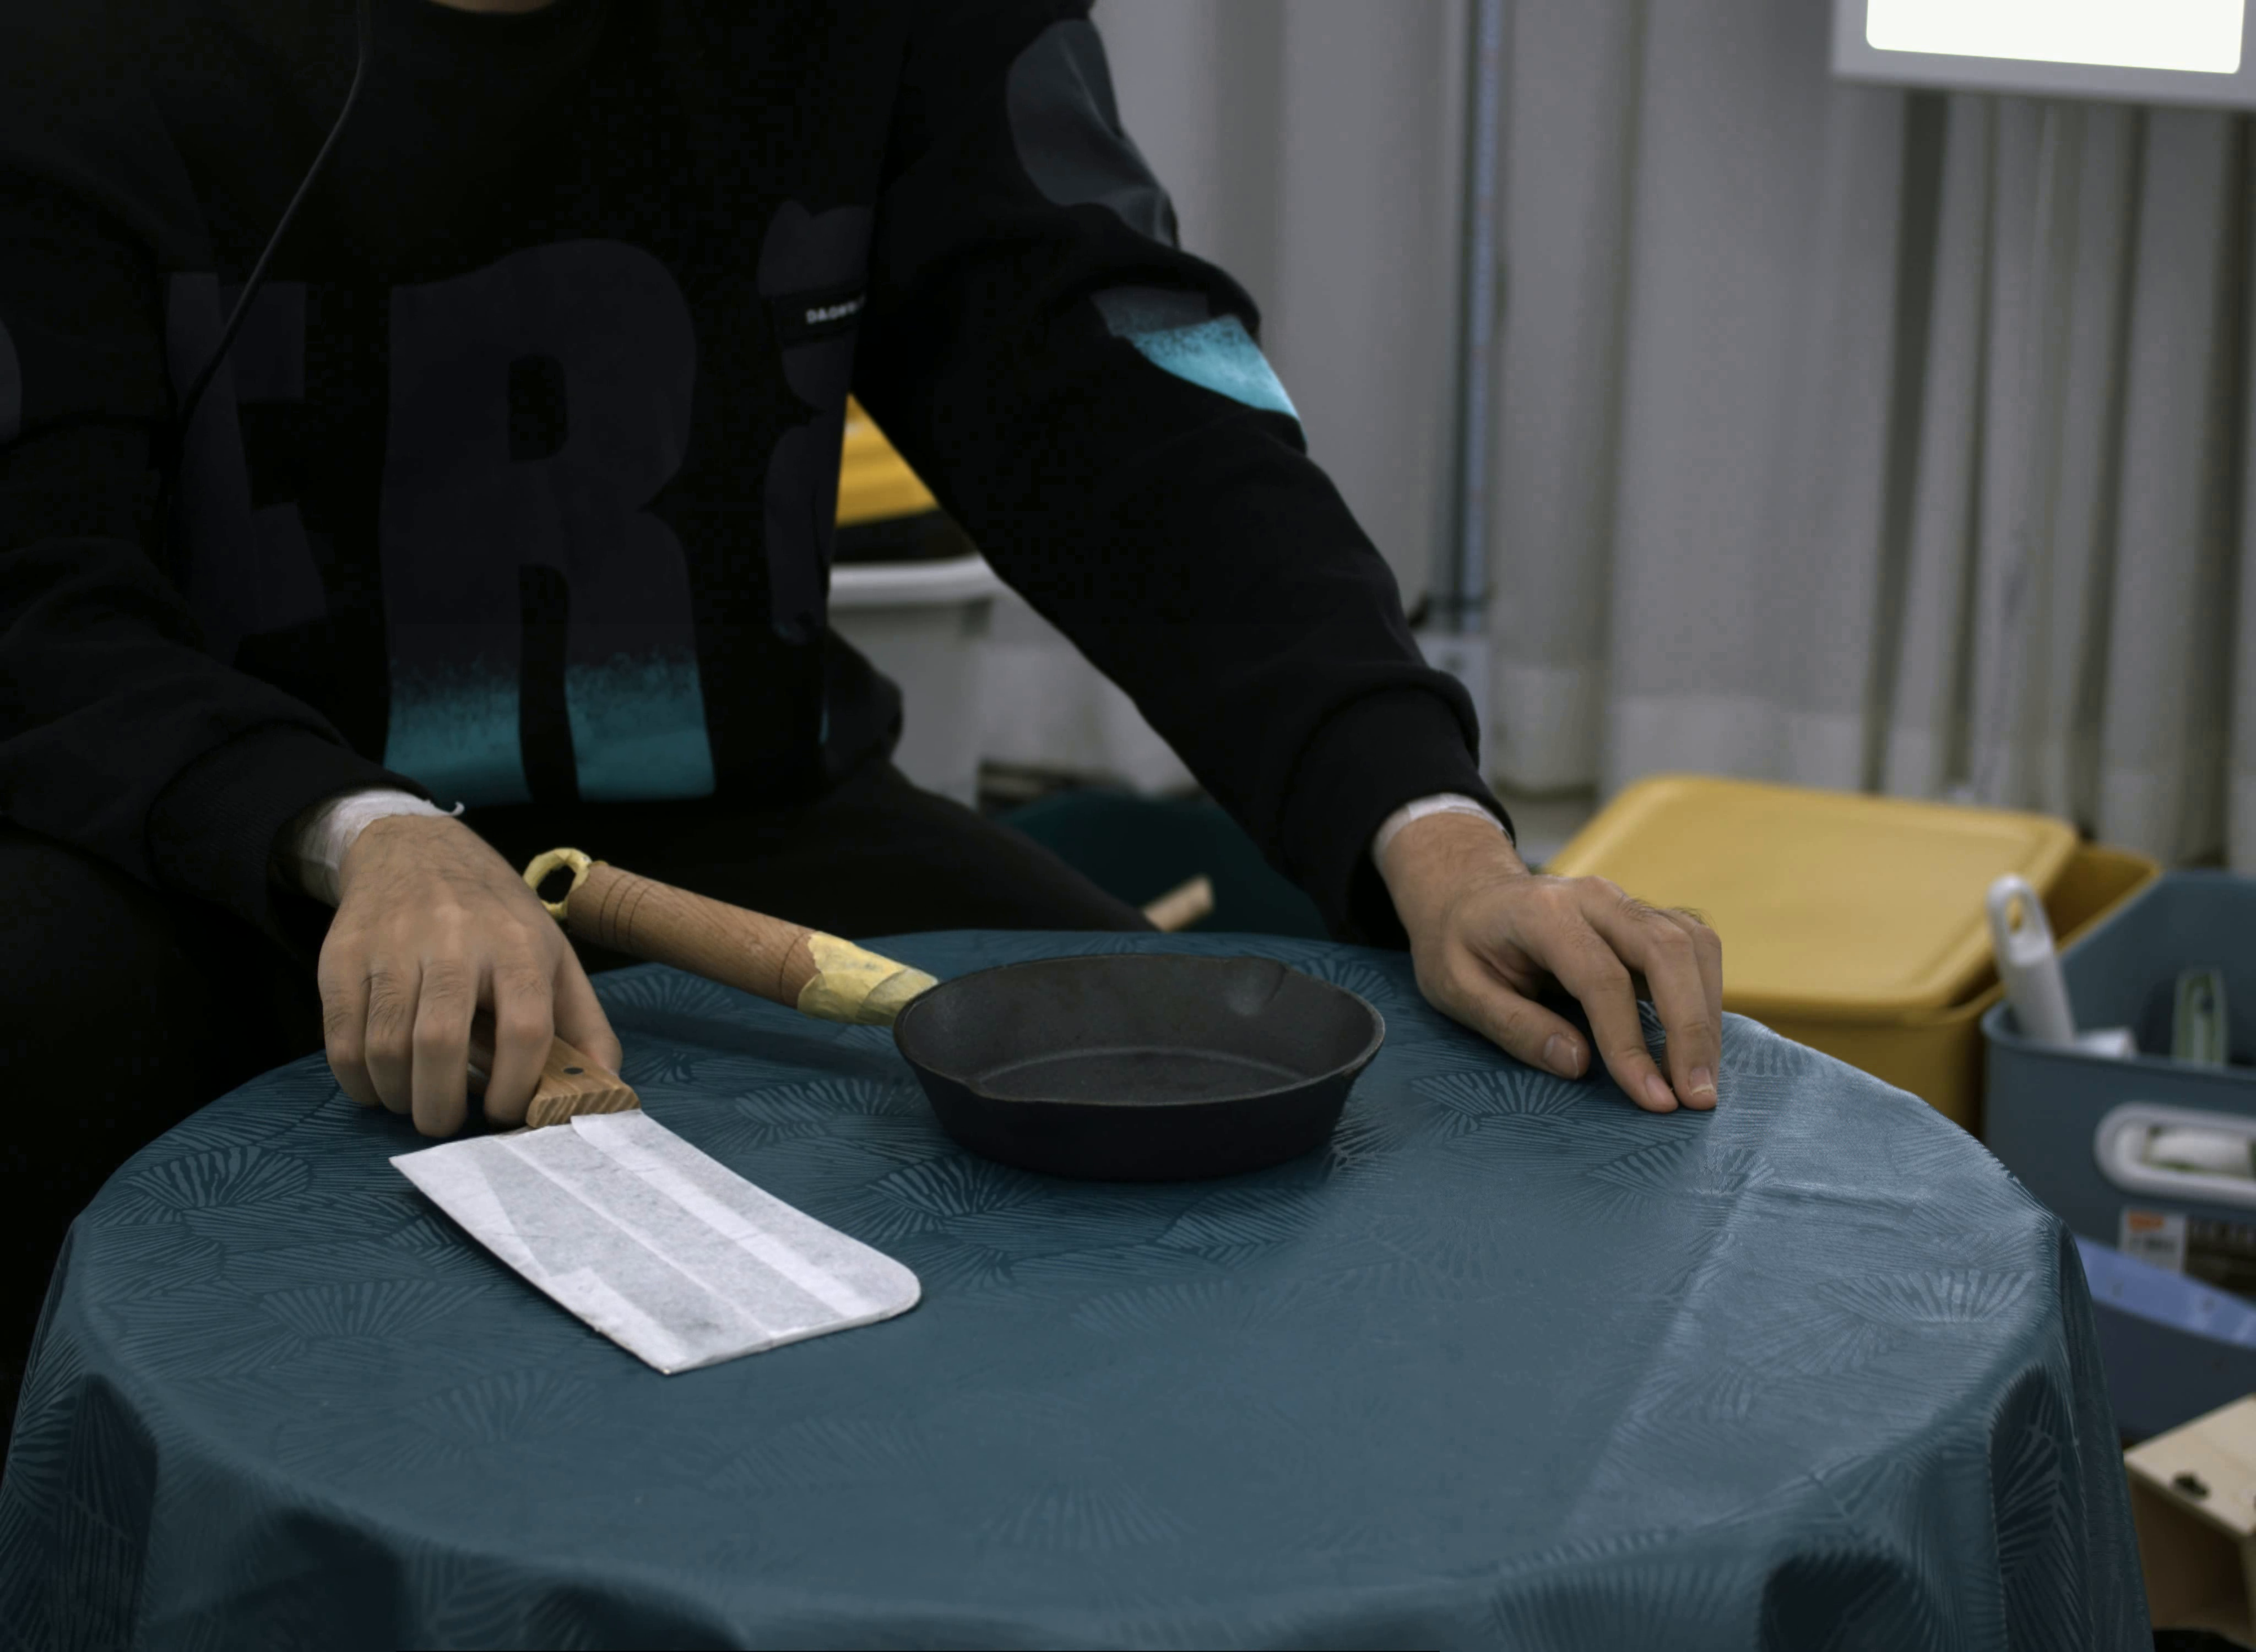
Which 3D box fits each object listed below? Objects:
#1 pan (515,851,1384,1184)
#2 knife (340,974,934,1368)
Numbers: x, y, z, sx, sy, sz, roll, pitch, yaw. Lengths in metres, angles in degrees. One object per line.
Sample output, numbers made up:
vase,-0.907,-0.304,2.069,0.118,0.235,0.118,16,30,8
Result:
pan,-0.068,0.058,1.722,0.320,0.050,0.169,11,19,30
knife,-0.167,0.103,1.618,0.114,0.022,0.311,-8,21,-28
